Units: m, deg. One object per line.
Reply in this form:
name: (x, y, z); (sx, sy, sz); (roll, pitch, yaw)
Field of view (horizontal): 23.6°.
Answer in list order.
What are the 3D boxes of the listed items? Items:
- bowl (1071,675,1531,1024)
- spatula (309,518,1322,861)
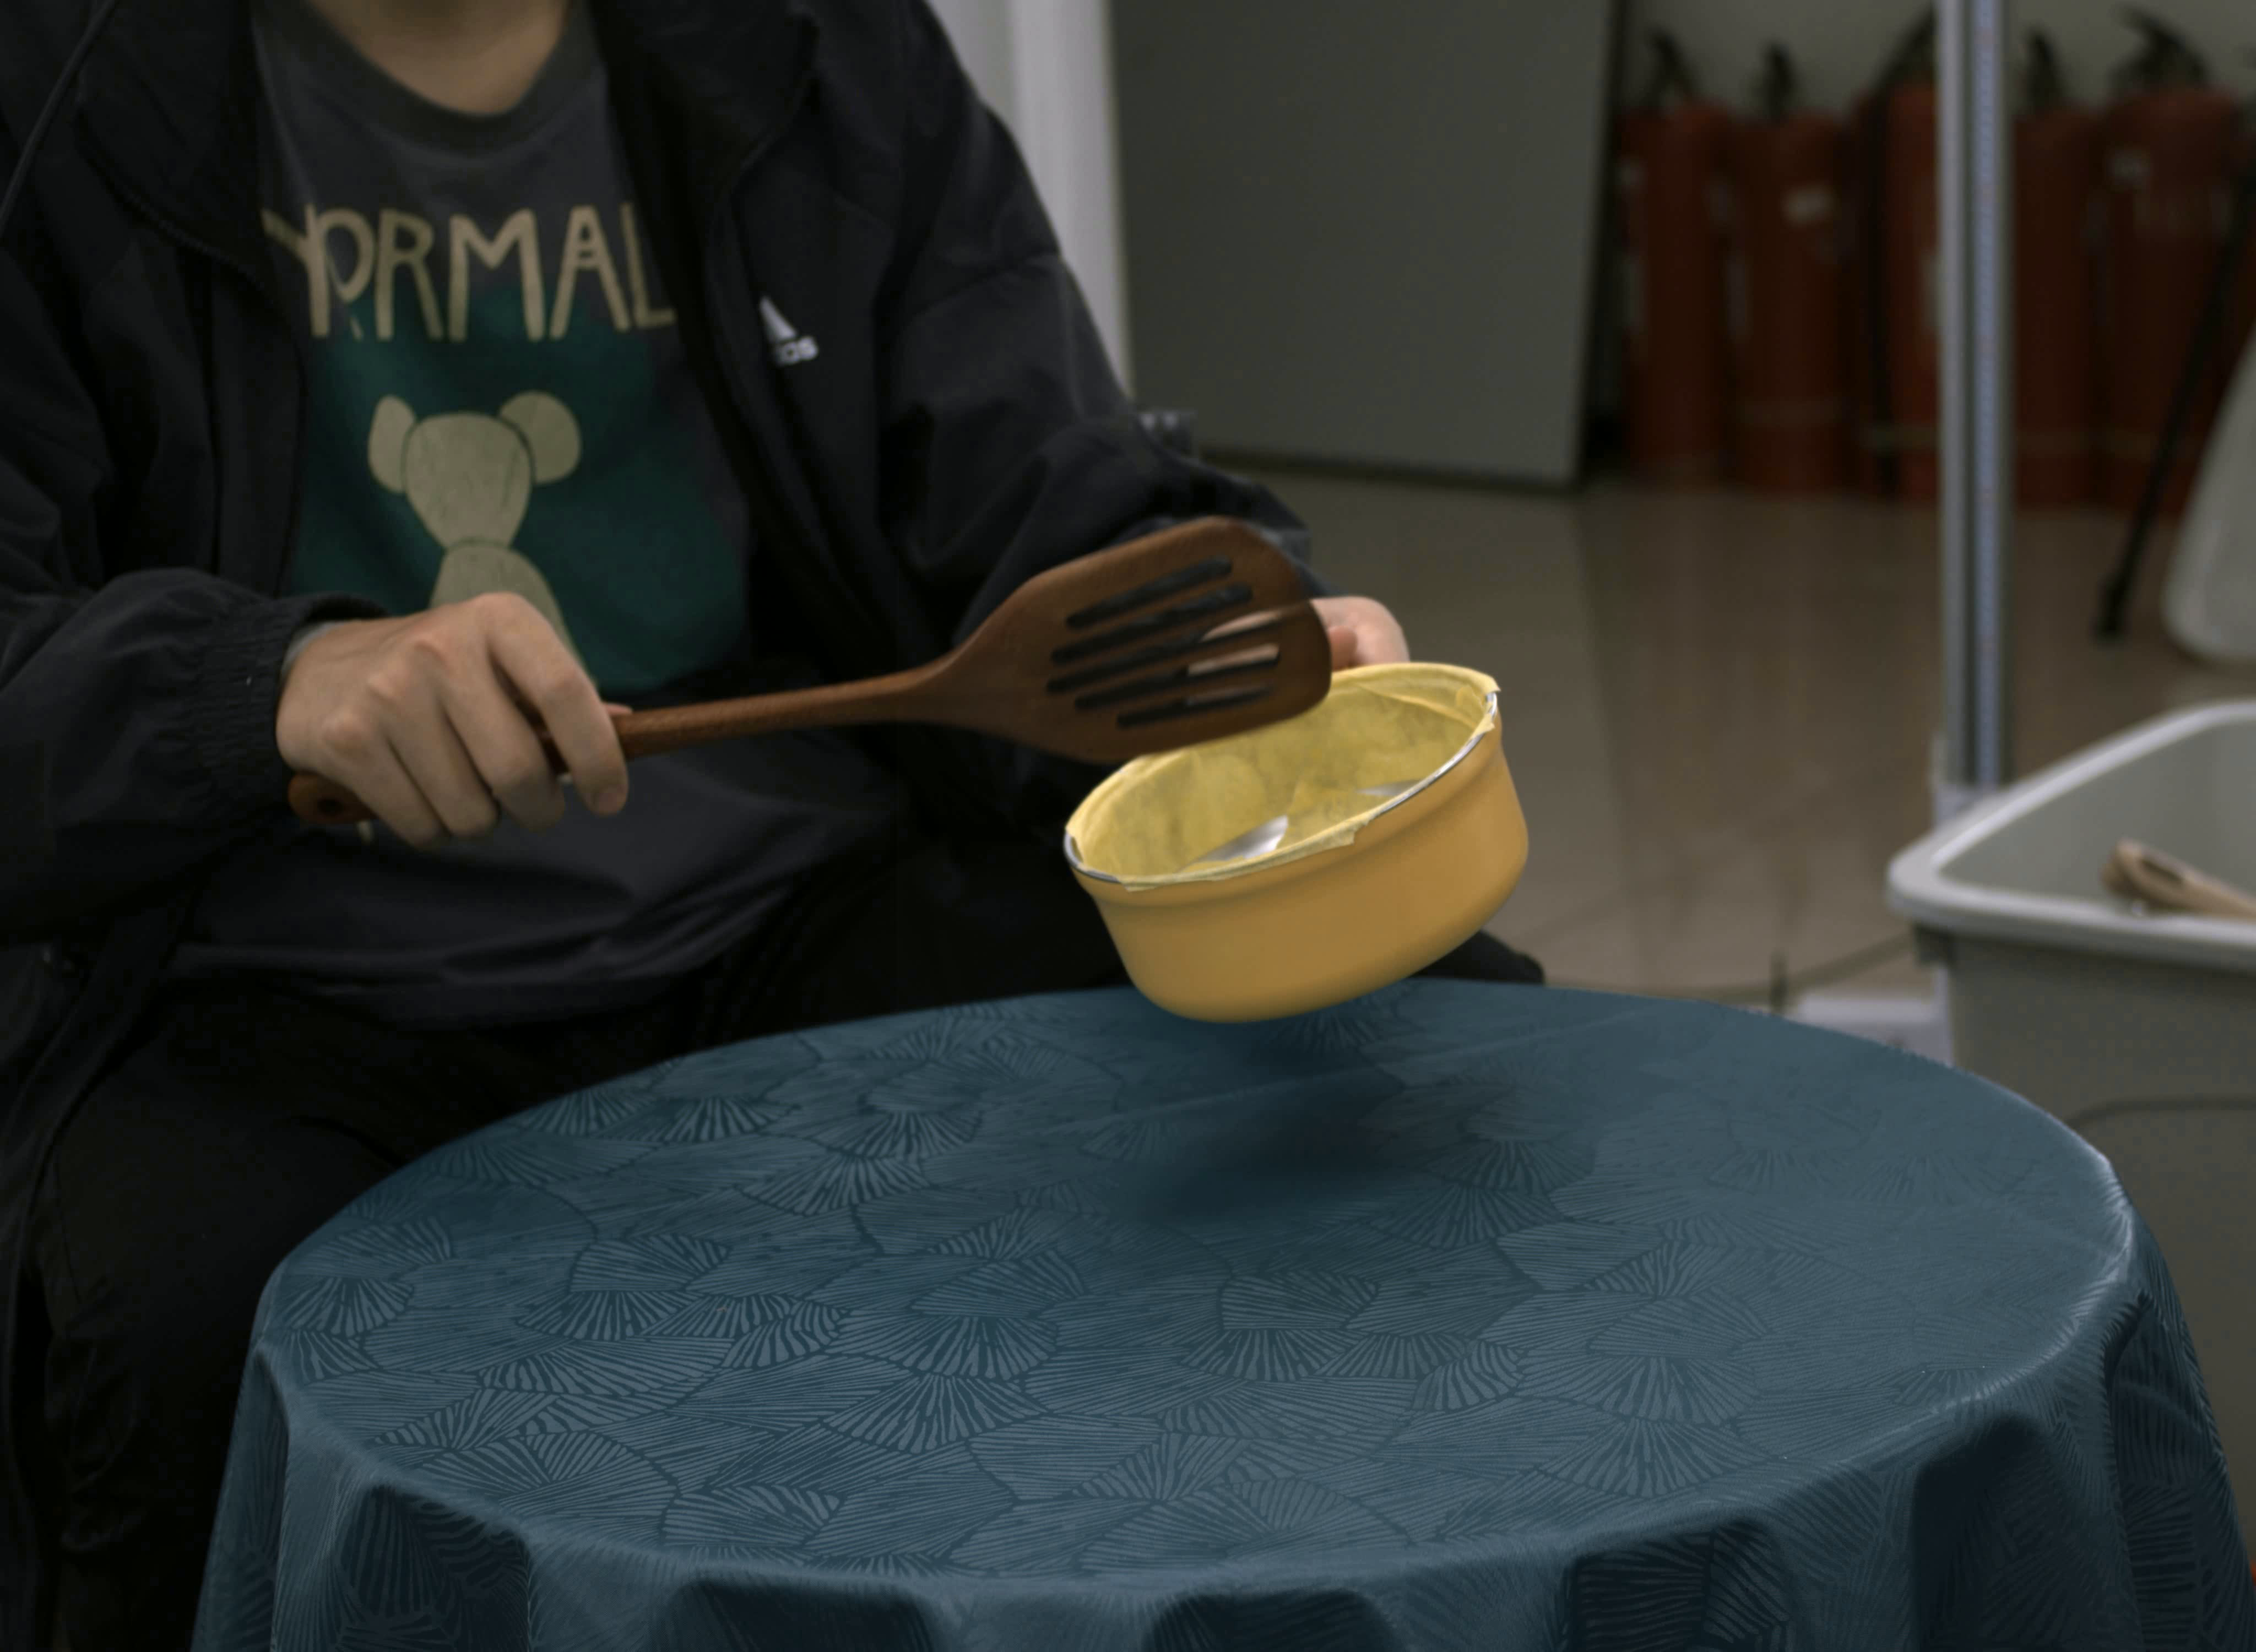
bowl: (0.064, 0.005, 1.800); (0.152, 0.074, 0.179); (-18, 19, 10)
spatula: (-0.115, -0.030, 1.790); (0.388, 0.085, 0.024); (-11, 36, 29)
